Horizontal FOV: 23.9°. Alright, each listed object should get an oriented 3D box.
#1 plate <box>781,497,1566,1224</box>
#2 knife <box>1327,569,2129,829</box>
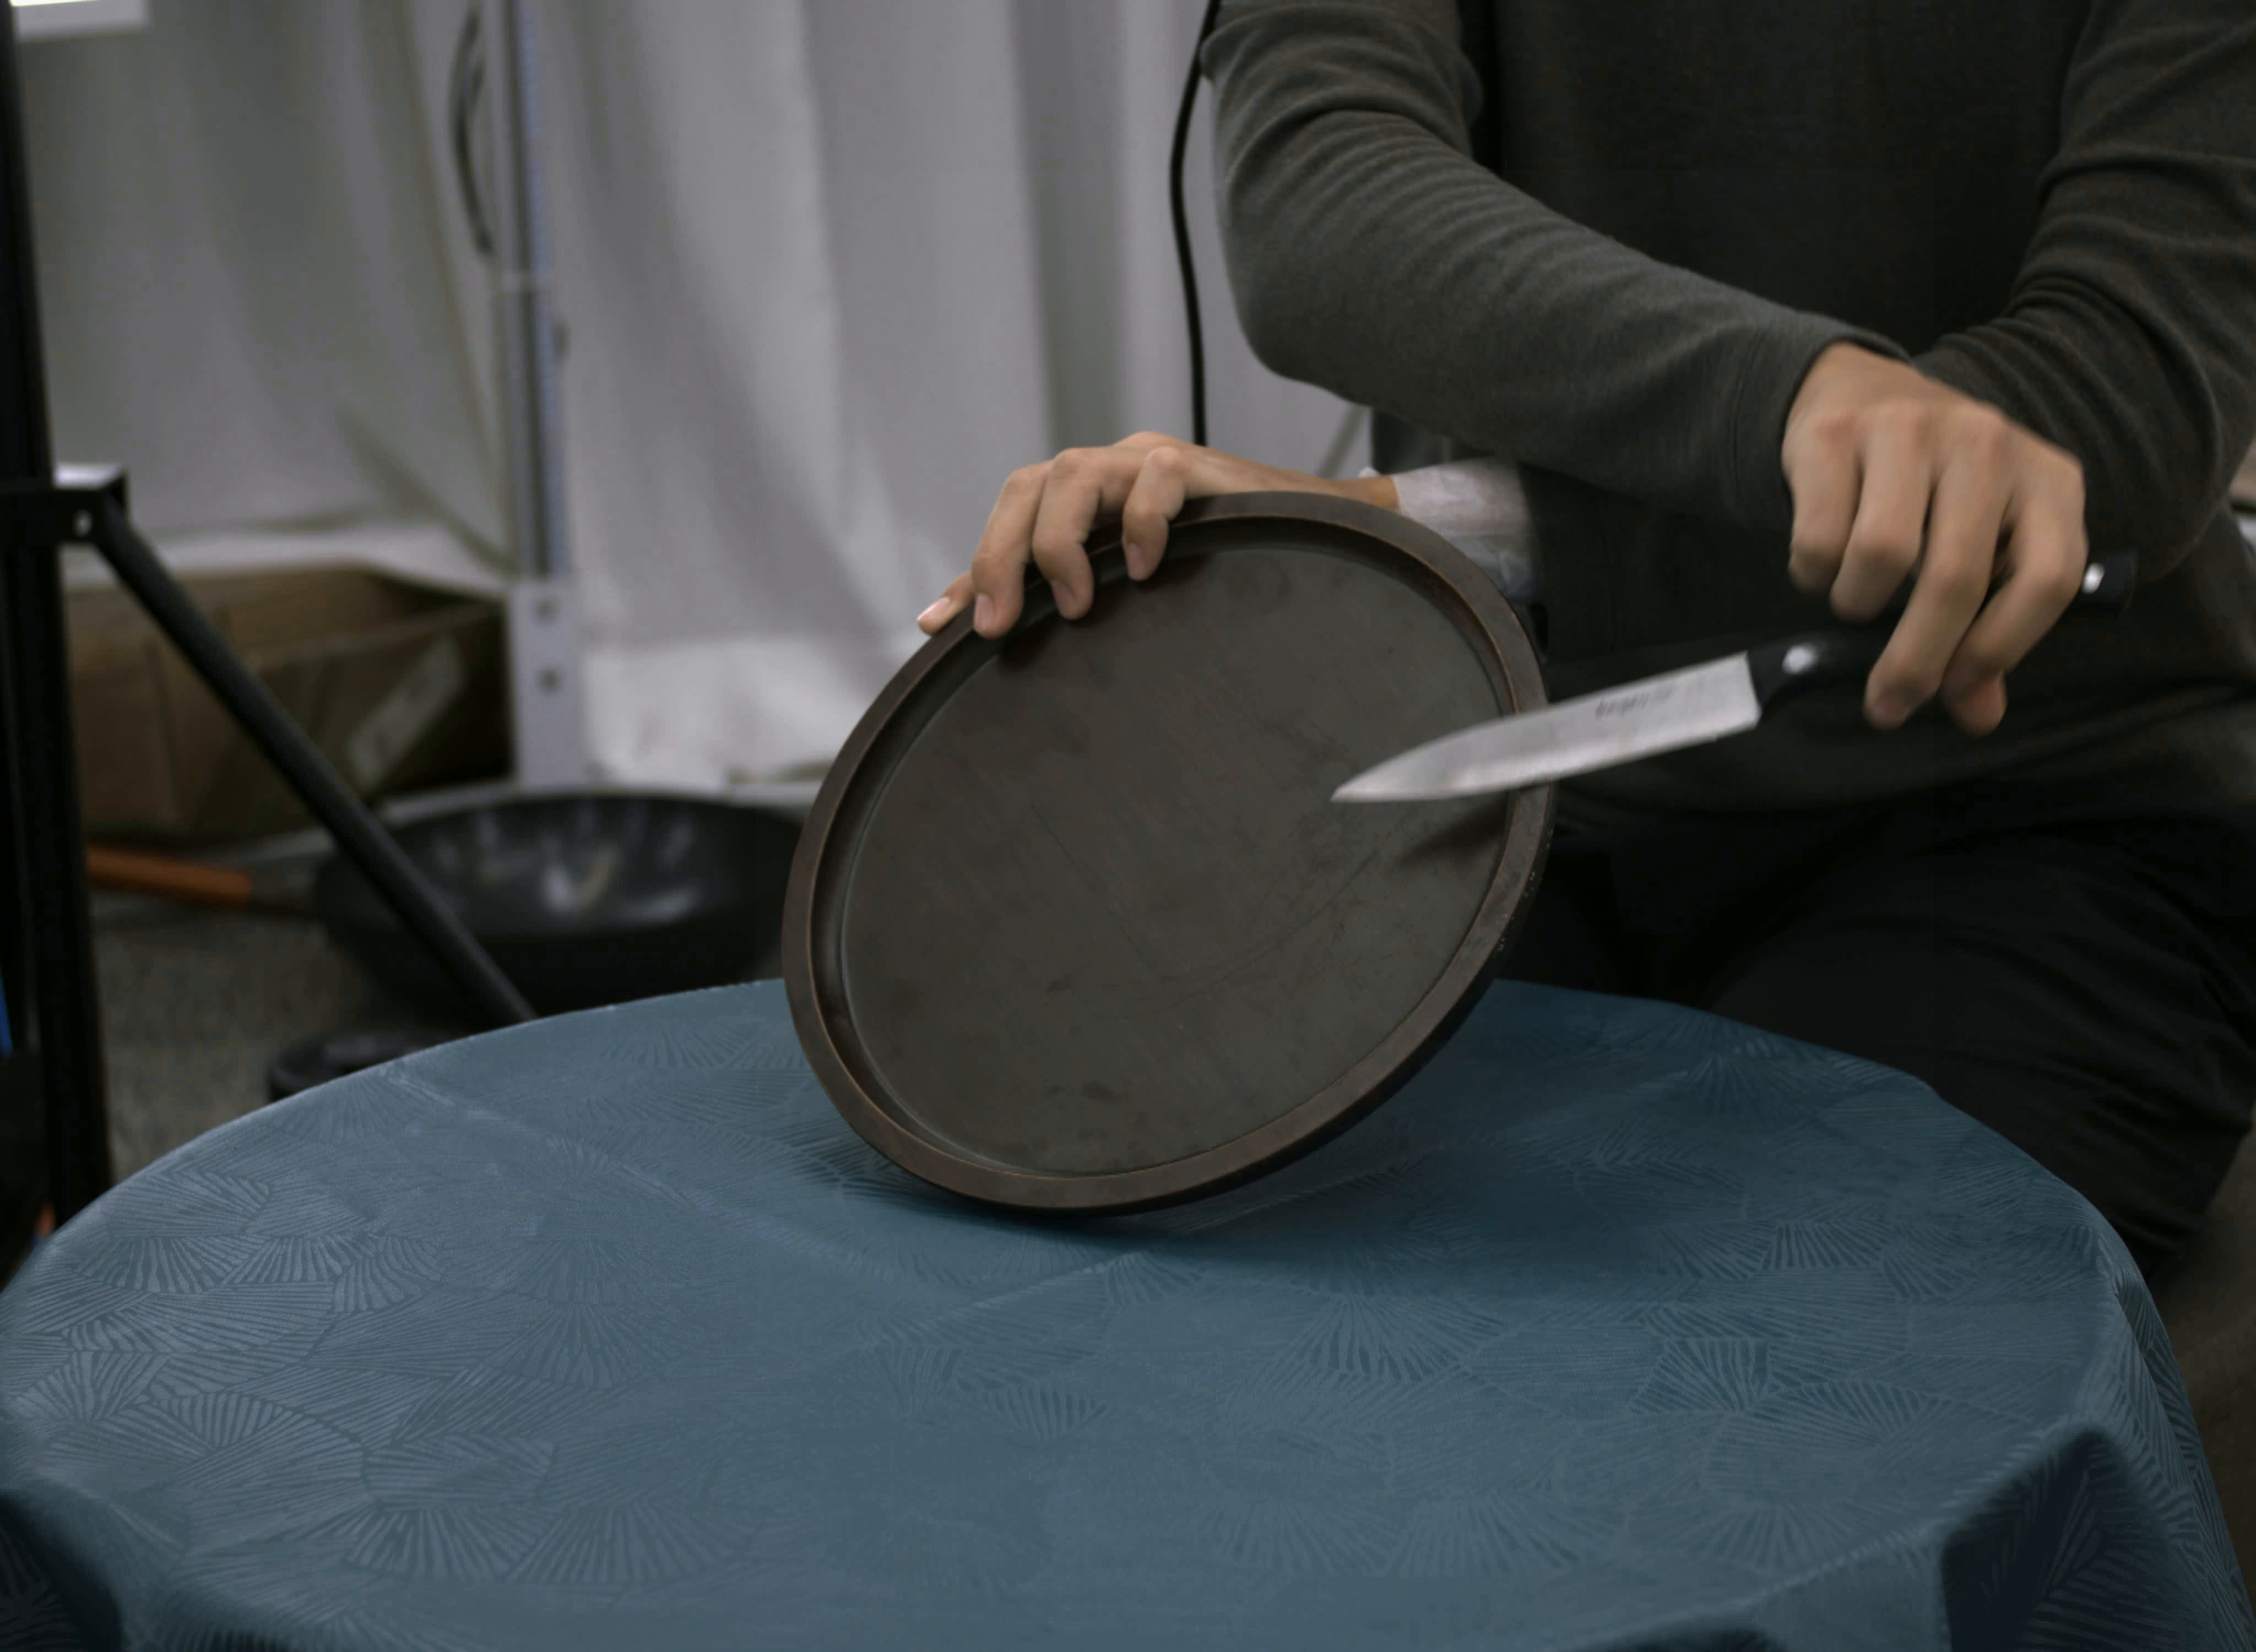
[{"bbox_3d":[0.013,0.009,1.594,0.257,0.028,0.258,-16,52,19],"label":"plate"},{"bbox_3d":[0.170,-0.034,1.526,0.239,0.025,0.016,-15,-19,10],"label":"knife"}]
